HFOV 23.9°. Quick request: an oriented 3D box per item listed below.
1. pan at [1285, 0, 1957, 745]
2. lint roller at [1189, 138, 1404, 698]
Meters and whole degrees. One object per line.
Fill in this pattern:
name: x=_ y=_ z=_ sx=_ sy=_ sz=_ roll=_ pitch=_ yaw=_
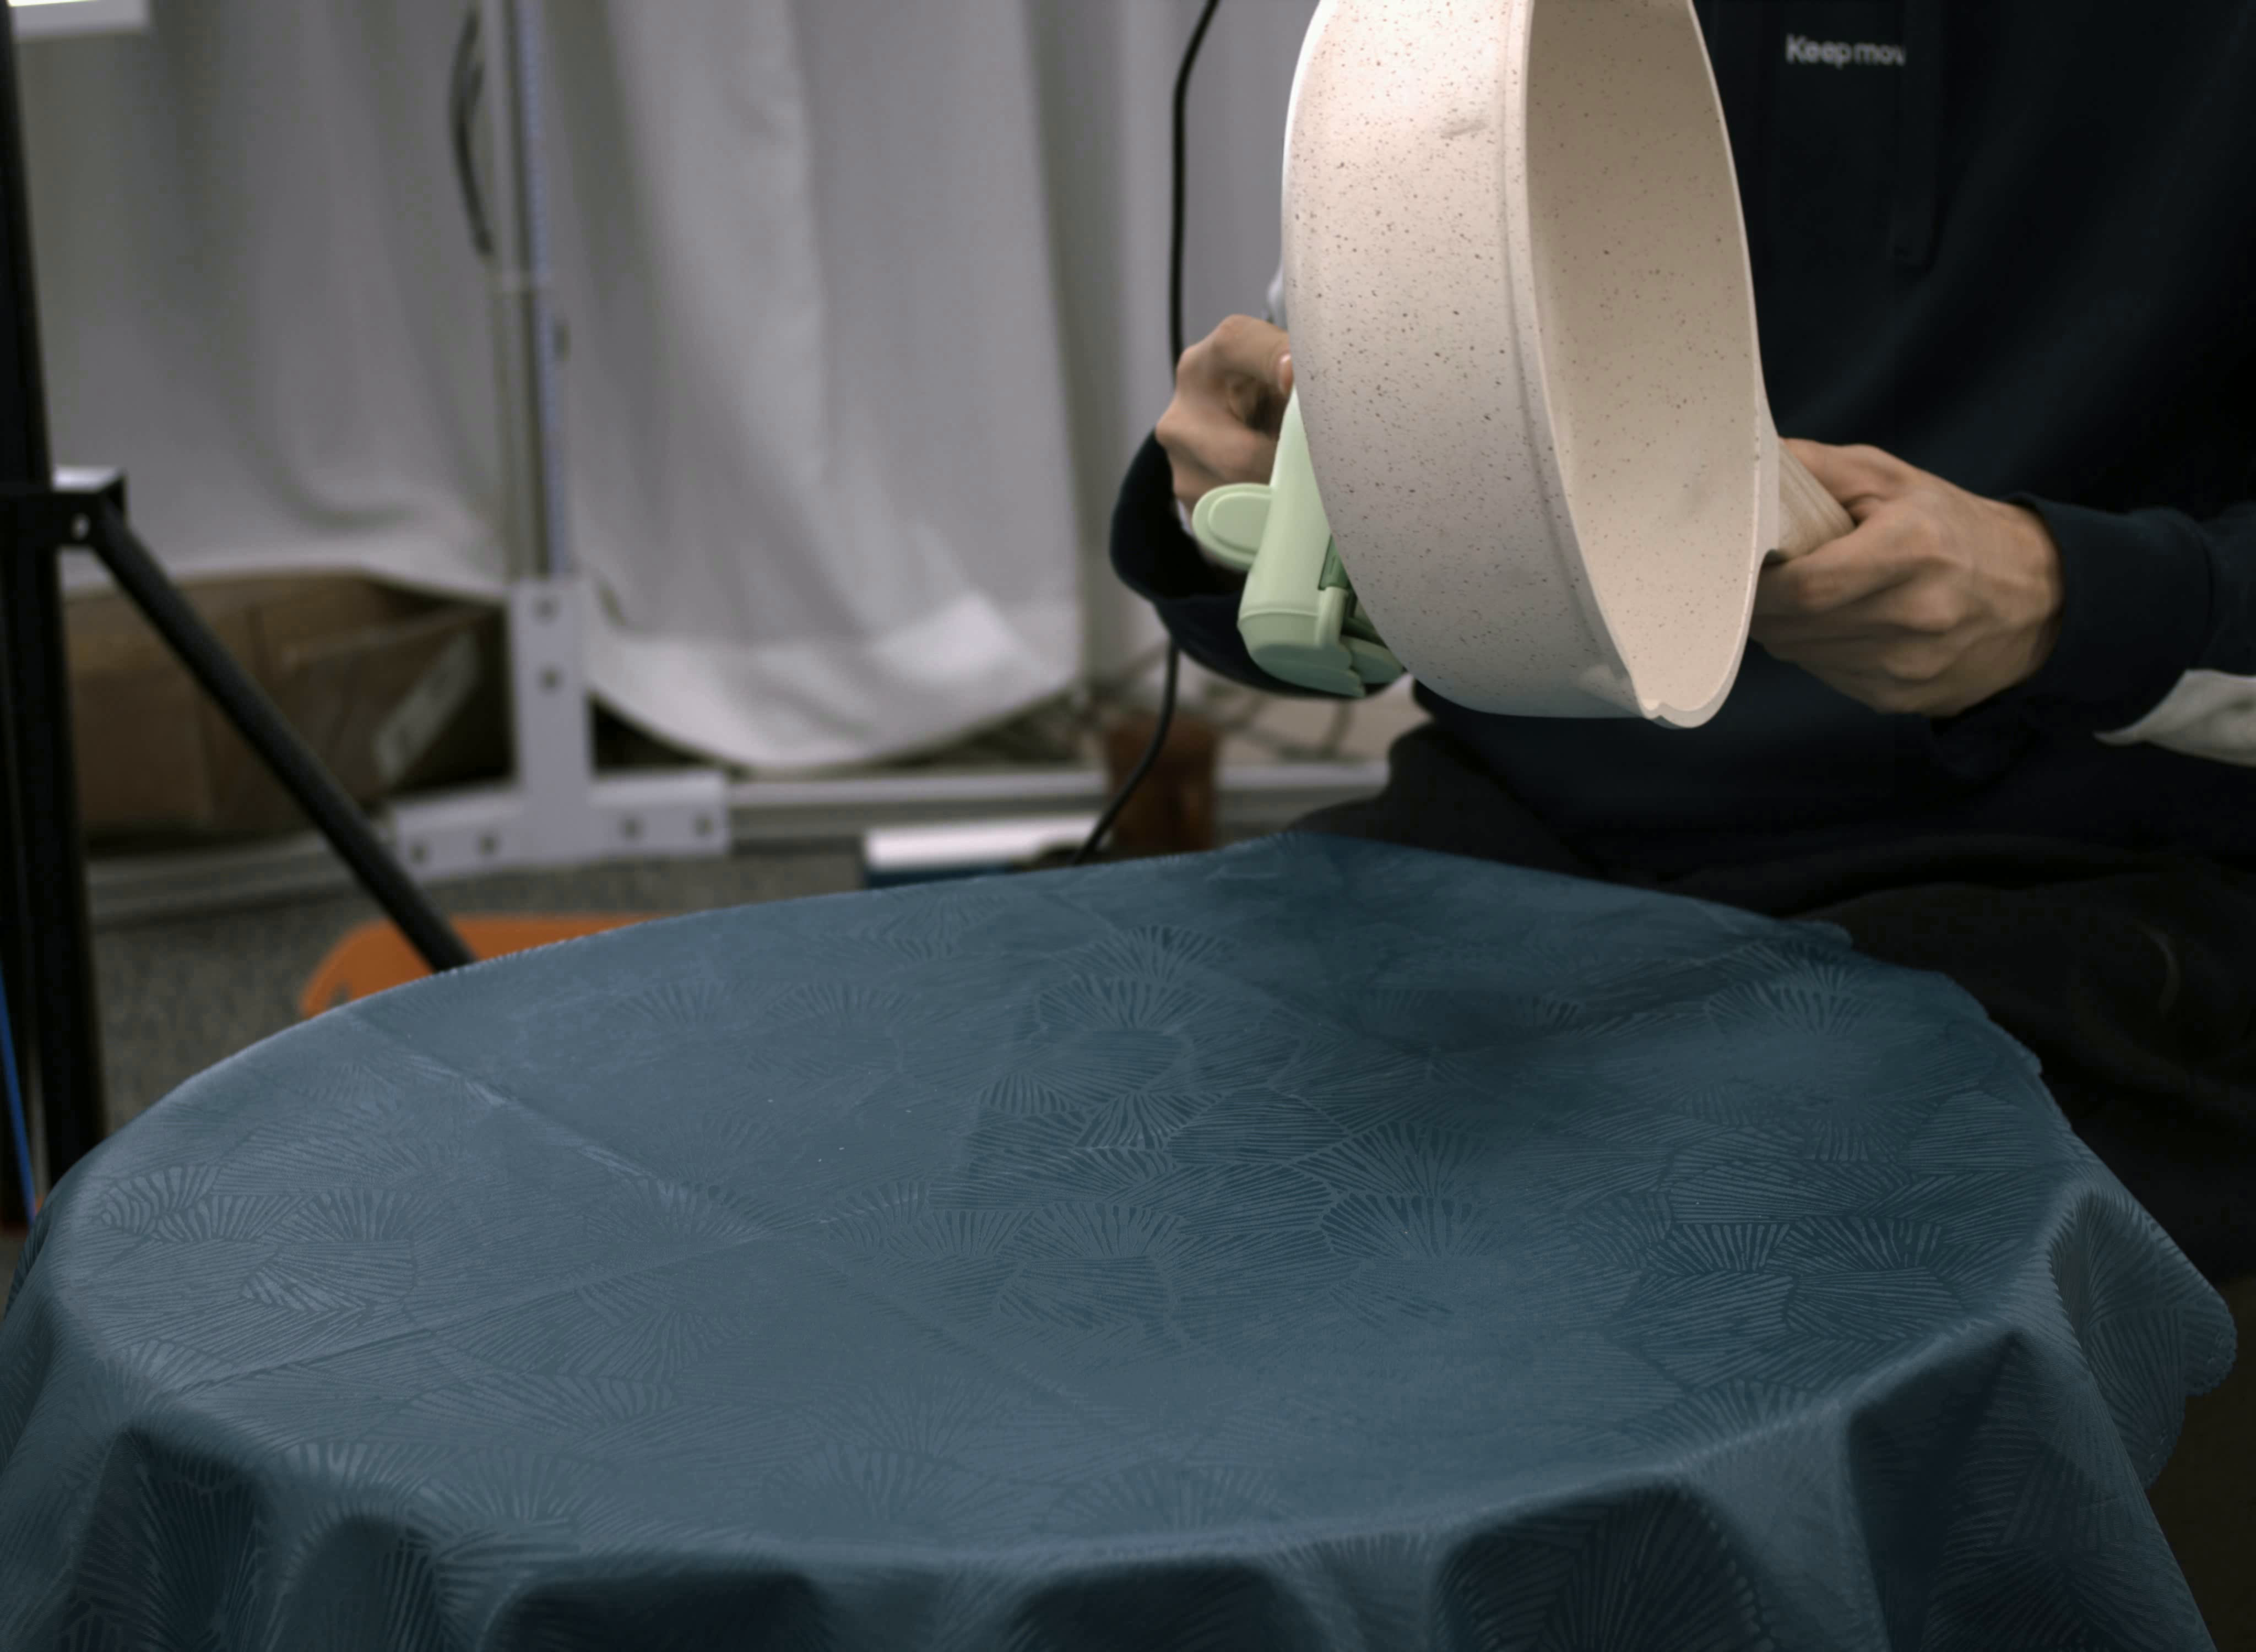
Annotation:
pan: x=0.154 y=-0.113 z=1.623 sx=0.103 sy=0.266 sz=0.426 roll=-8 pitch=-24 yaw=20
lint roller: x=0.053 y=-0.134 z=1.719 sx=0.081 sy=0.200 sz=0.185 roll=15 pitch=-14 yaw=-16
